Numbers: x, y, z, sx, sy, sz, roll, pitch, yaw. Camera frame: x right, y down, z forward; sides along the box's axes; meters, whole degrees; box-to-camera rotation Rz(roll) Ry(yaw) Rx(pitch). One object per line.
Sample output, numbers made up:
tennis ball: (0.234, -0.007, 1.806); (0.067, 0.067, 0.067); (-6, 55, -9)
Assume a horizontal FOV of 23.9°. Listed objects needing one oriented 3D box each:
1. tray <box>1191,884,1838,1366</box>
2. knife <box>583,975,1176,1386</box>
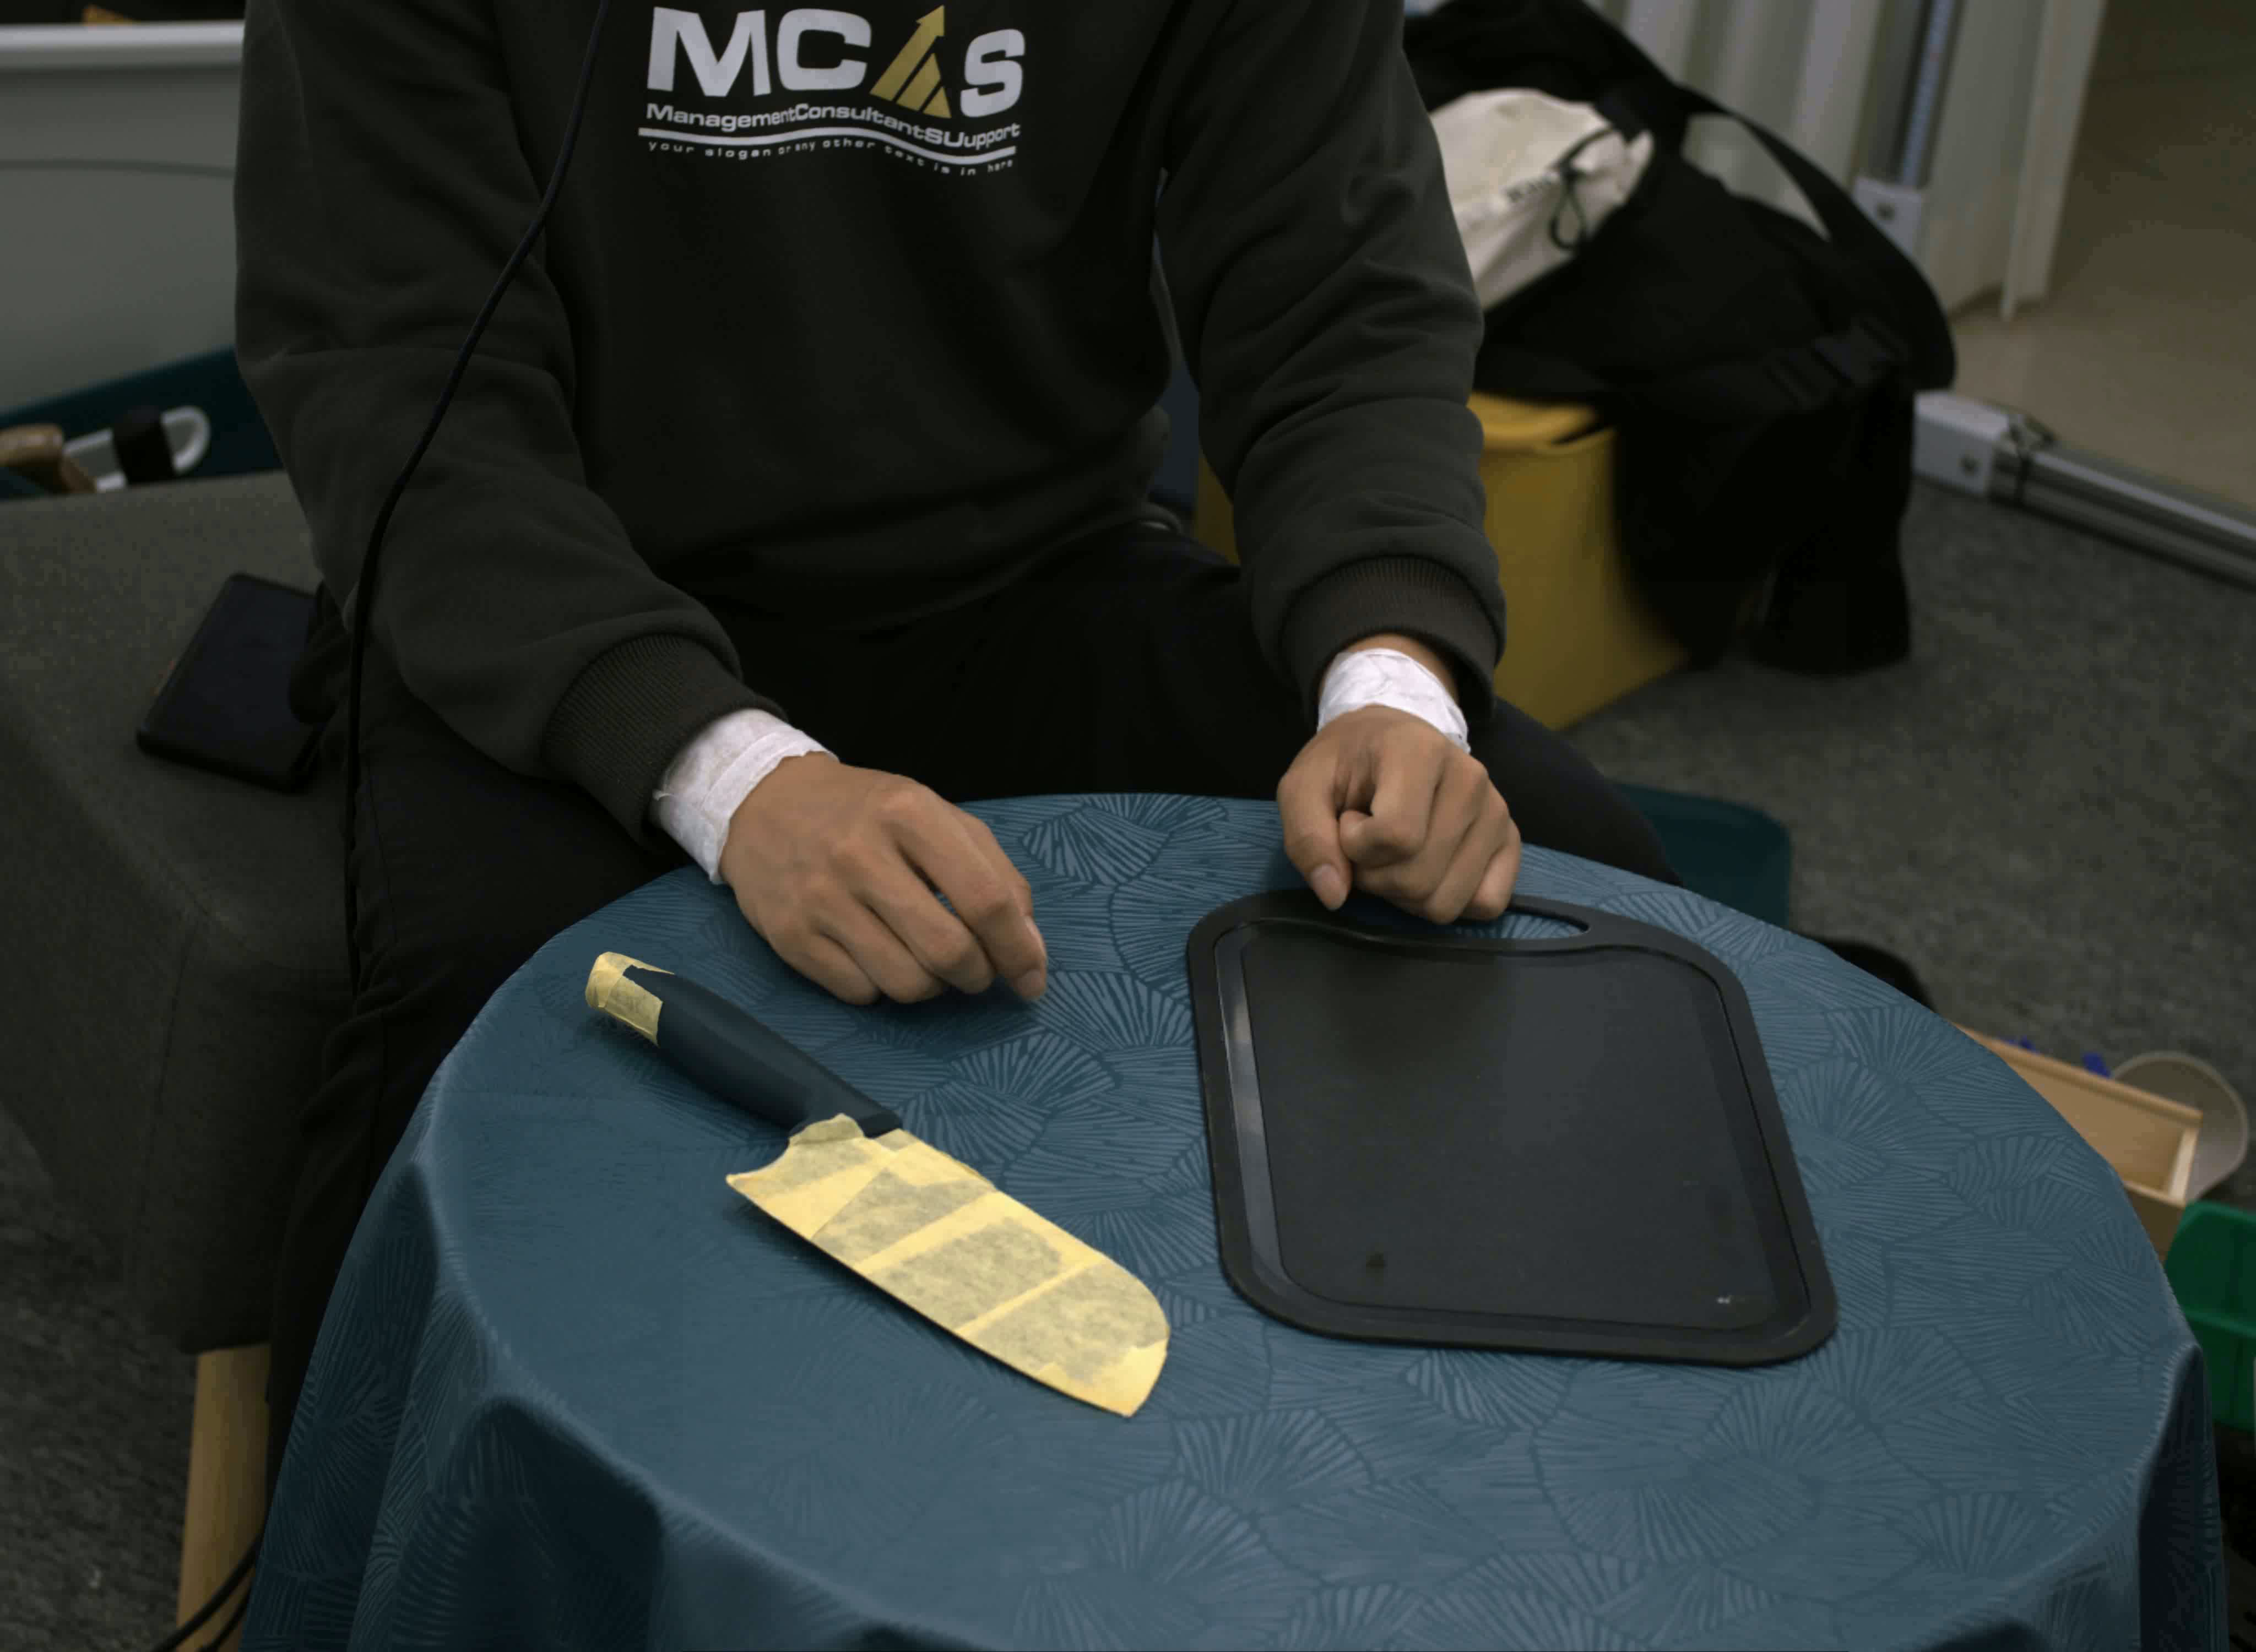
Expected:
tray: (0.130, 0.096, 1.881); (0.210, 0.010, 0.327); (5, 27, -4)
knife: (-0.092, 0.119, 1.778); (0.080, 0.027, 0.292); (-18, 37, -42)
